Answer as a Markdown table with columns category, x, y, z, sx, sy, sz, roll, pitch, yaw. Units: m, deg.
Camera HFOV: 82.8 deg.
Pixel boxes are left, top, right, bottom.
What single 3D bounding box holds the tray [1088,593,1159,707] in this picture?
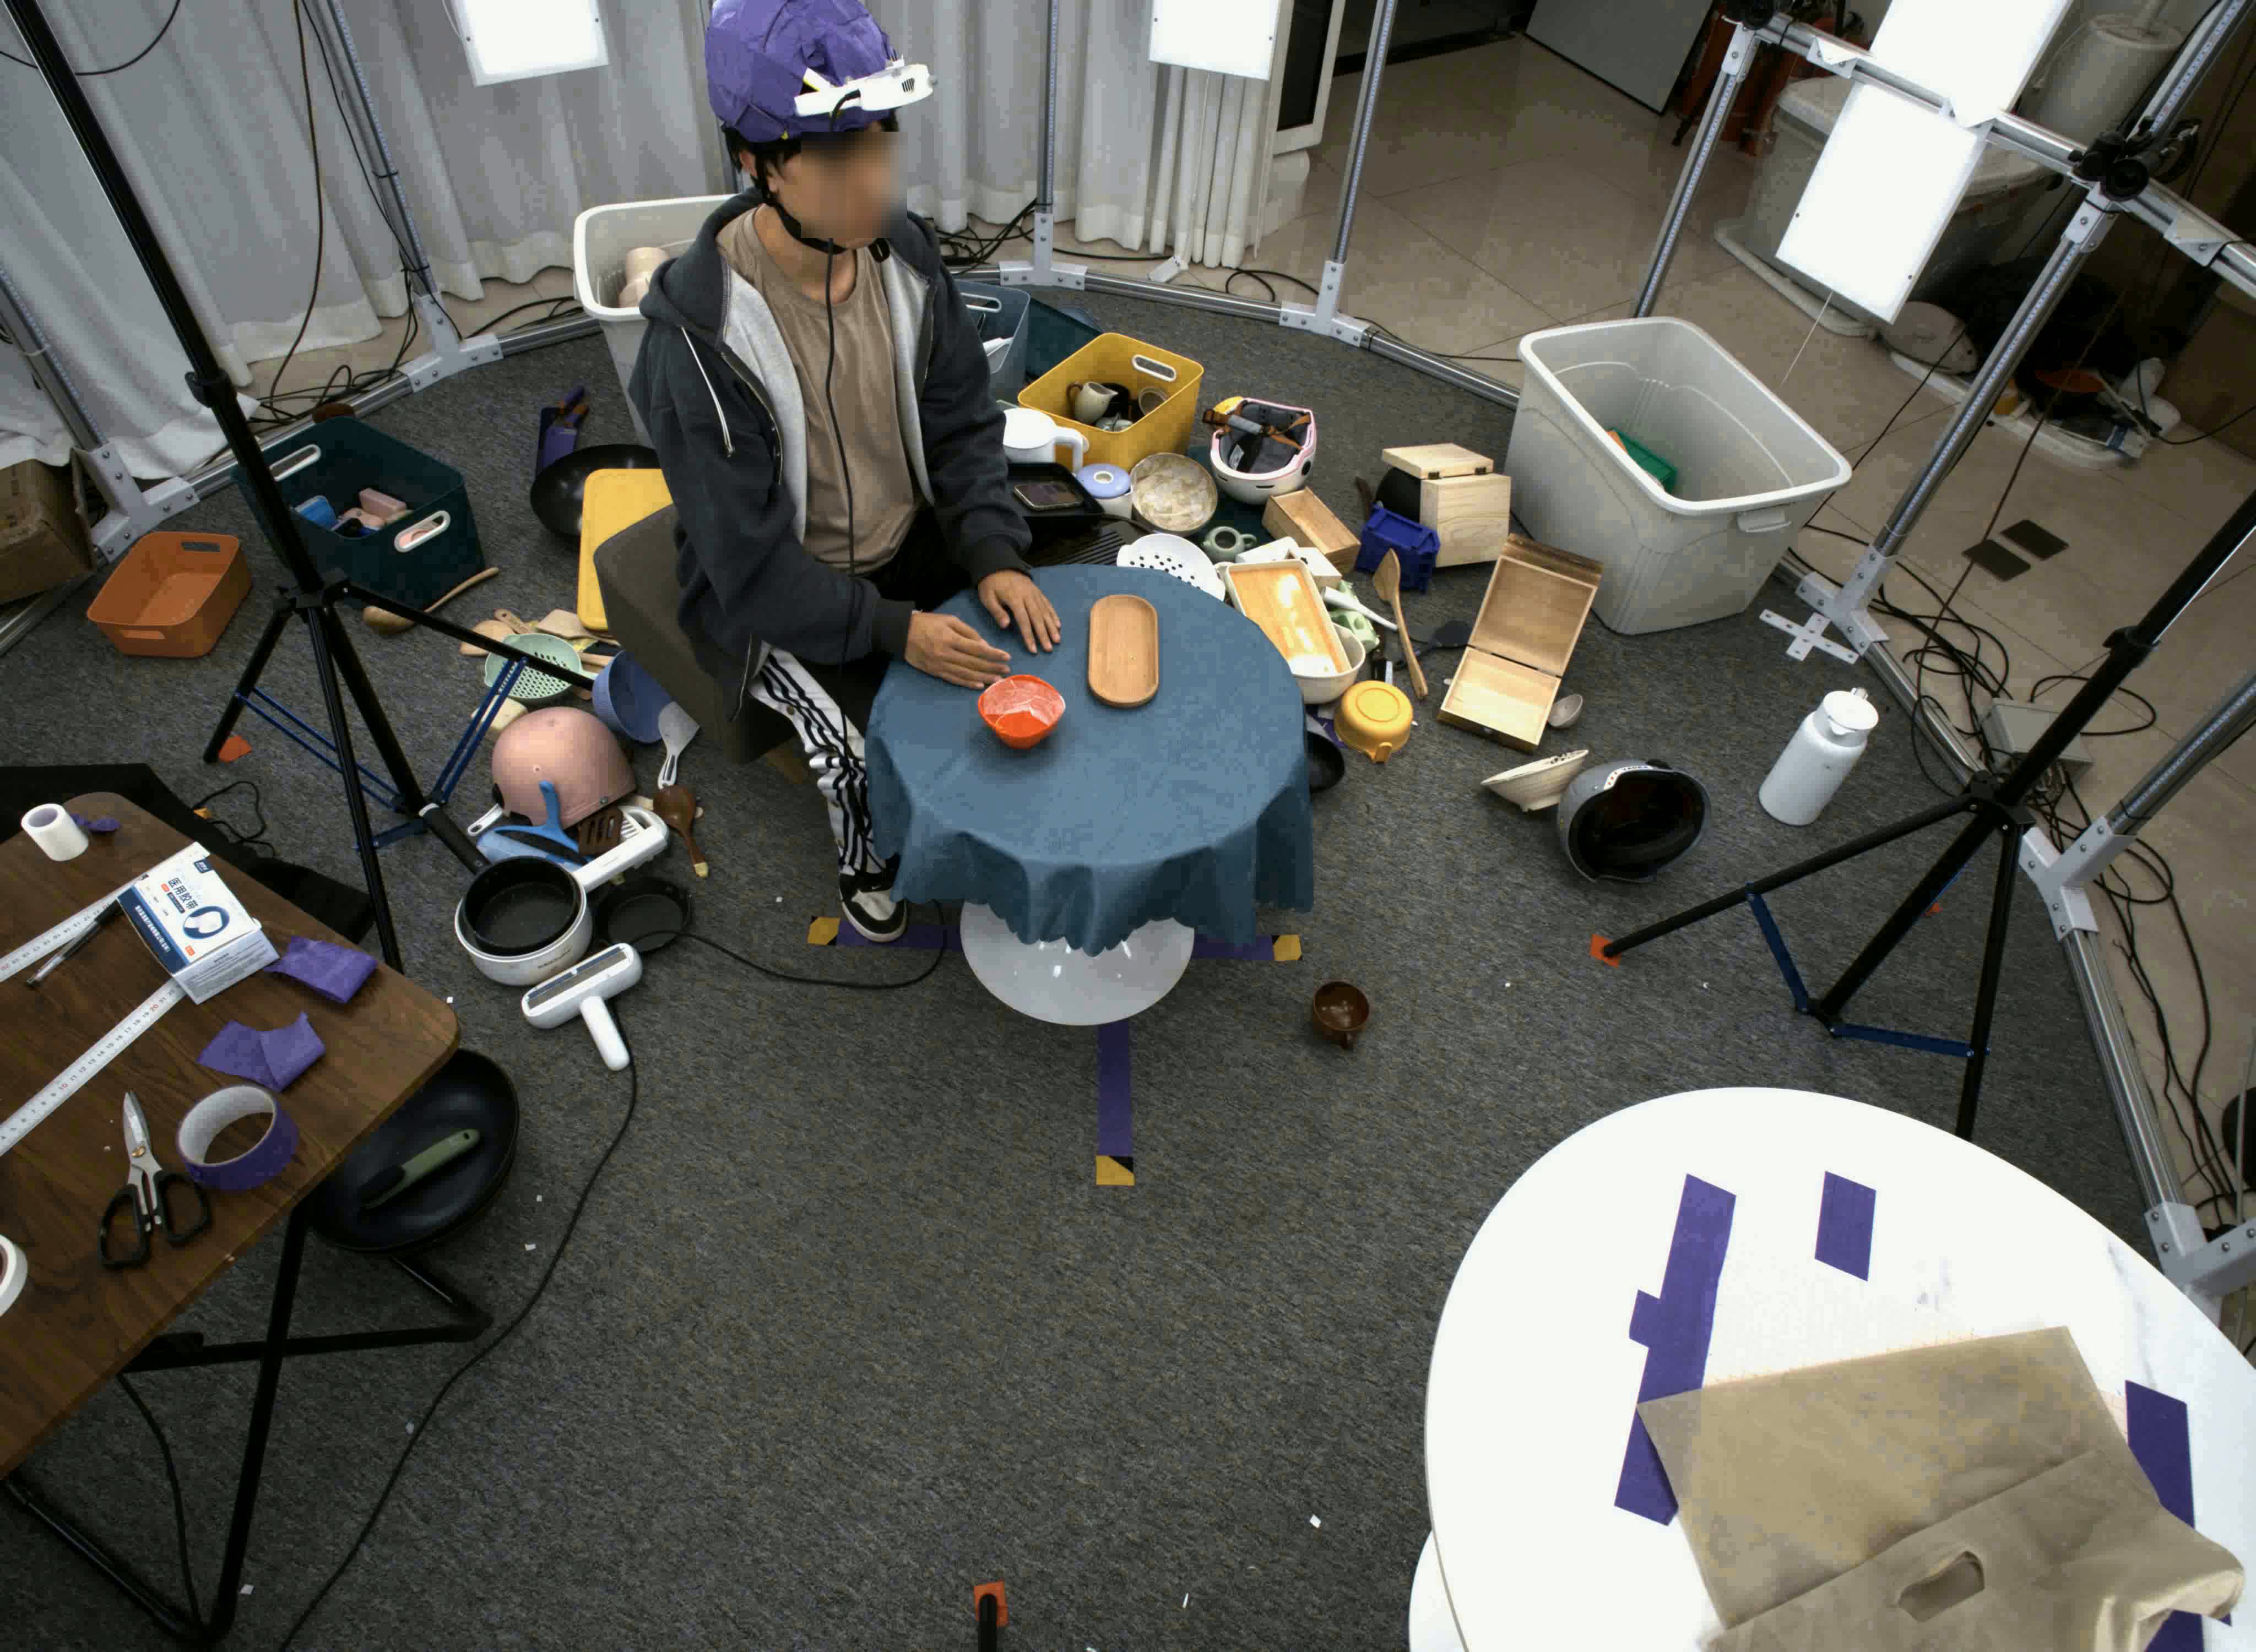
| category | x | y | z | sx | sy | sz | roll | pitch | yaw |
| --- | --- | --- | --- | --- | --- | --- | --- | --- | --- |
| tray | -0.008 | -0.260 | 1.882 | 0.101 | 0.020 | 0.237 | 1 | 48 | -3 |

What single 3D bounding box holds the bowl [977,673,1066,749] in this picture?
| category | x | y | z | sx | sy | sz | roll | pitch | yaw |
| --- | --- | --- | --- | --- | --- | --- | --- | --- | --- |
| bowl | -0.145 | -0.150 | 1.751 | 0.119 | 0.050 | 0.122 | 2 | 50 | -3 |
